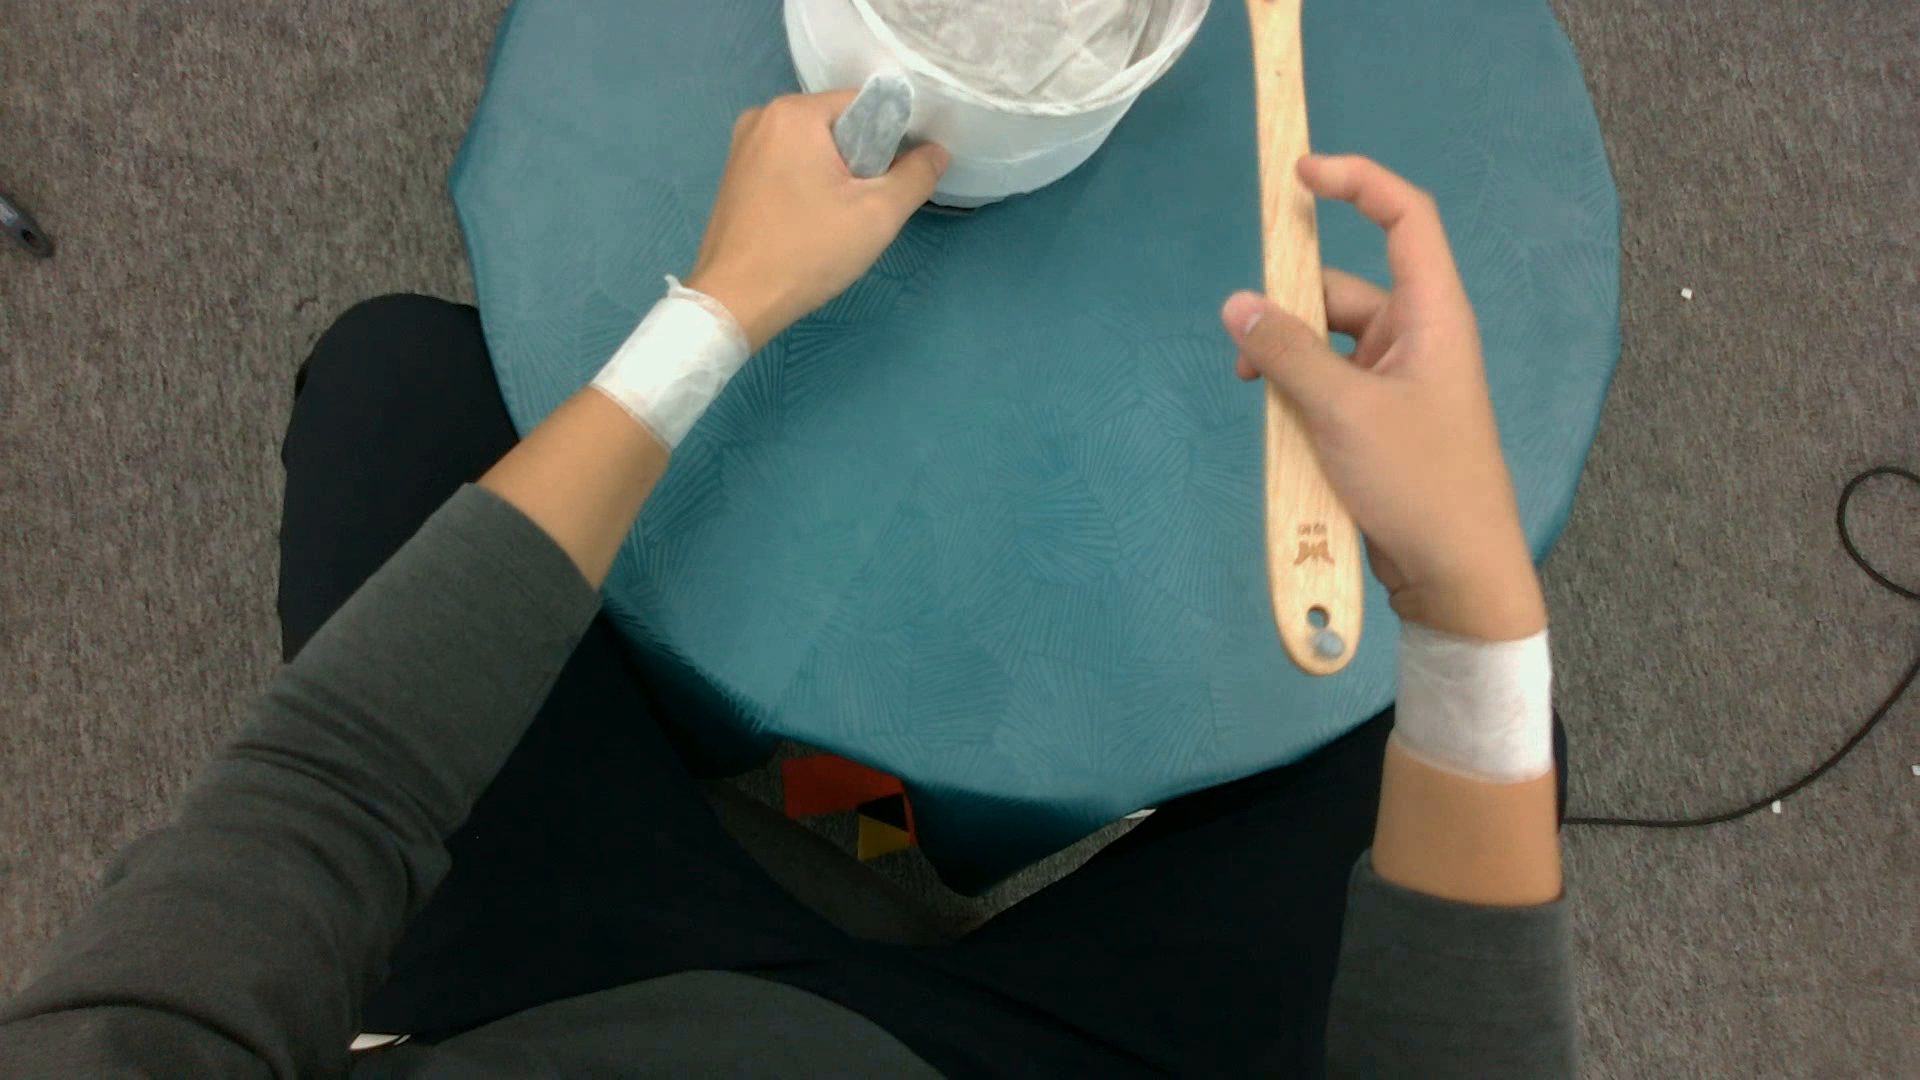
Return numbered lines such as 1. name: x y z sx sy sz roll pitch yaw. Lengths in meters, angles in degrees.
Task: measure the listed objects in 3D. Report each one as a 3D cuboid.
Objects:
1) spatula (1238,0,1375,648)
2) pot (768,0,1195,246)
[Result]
1. spatula: 0.118 -0.151 0.498 0.096 0.018 0.392 1 69 -6
2. pot: -0.006 -0.242 0.630 0.178 0.136 0.234 34 76 -10
